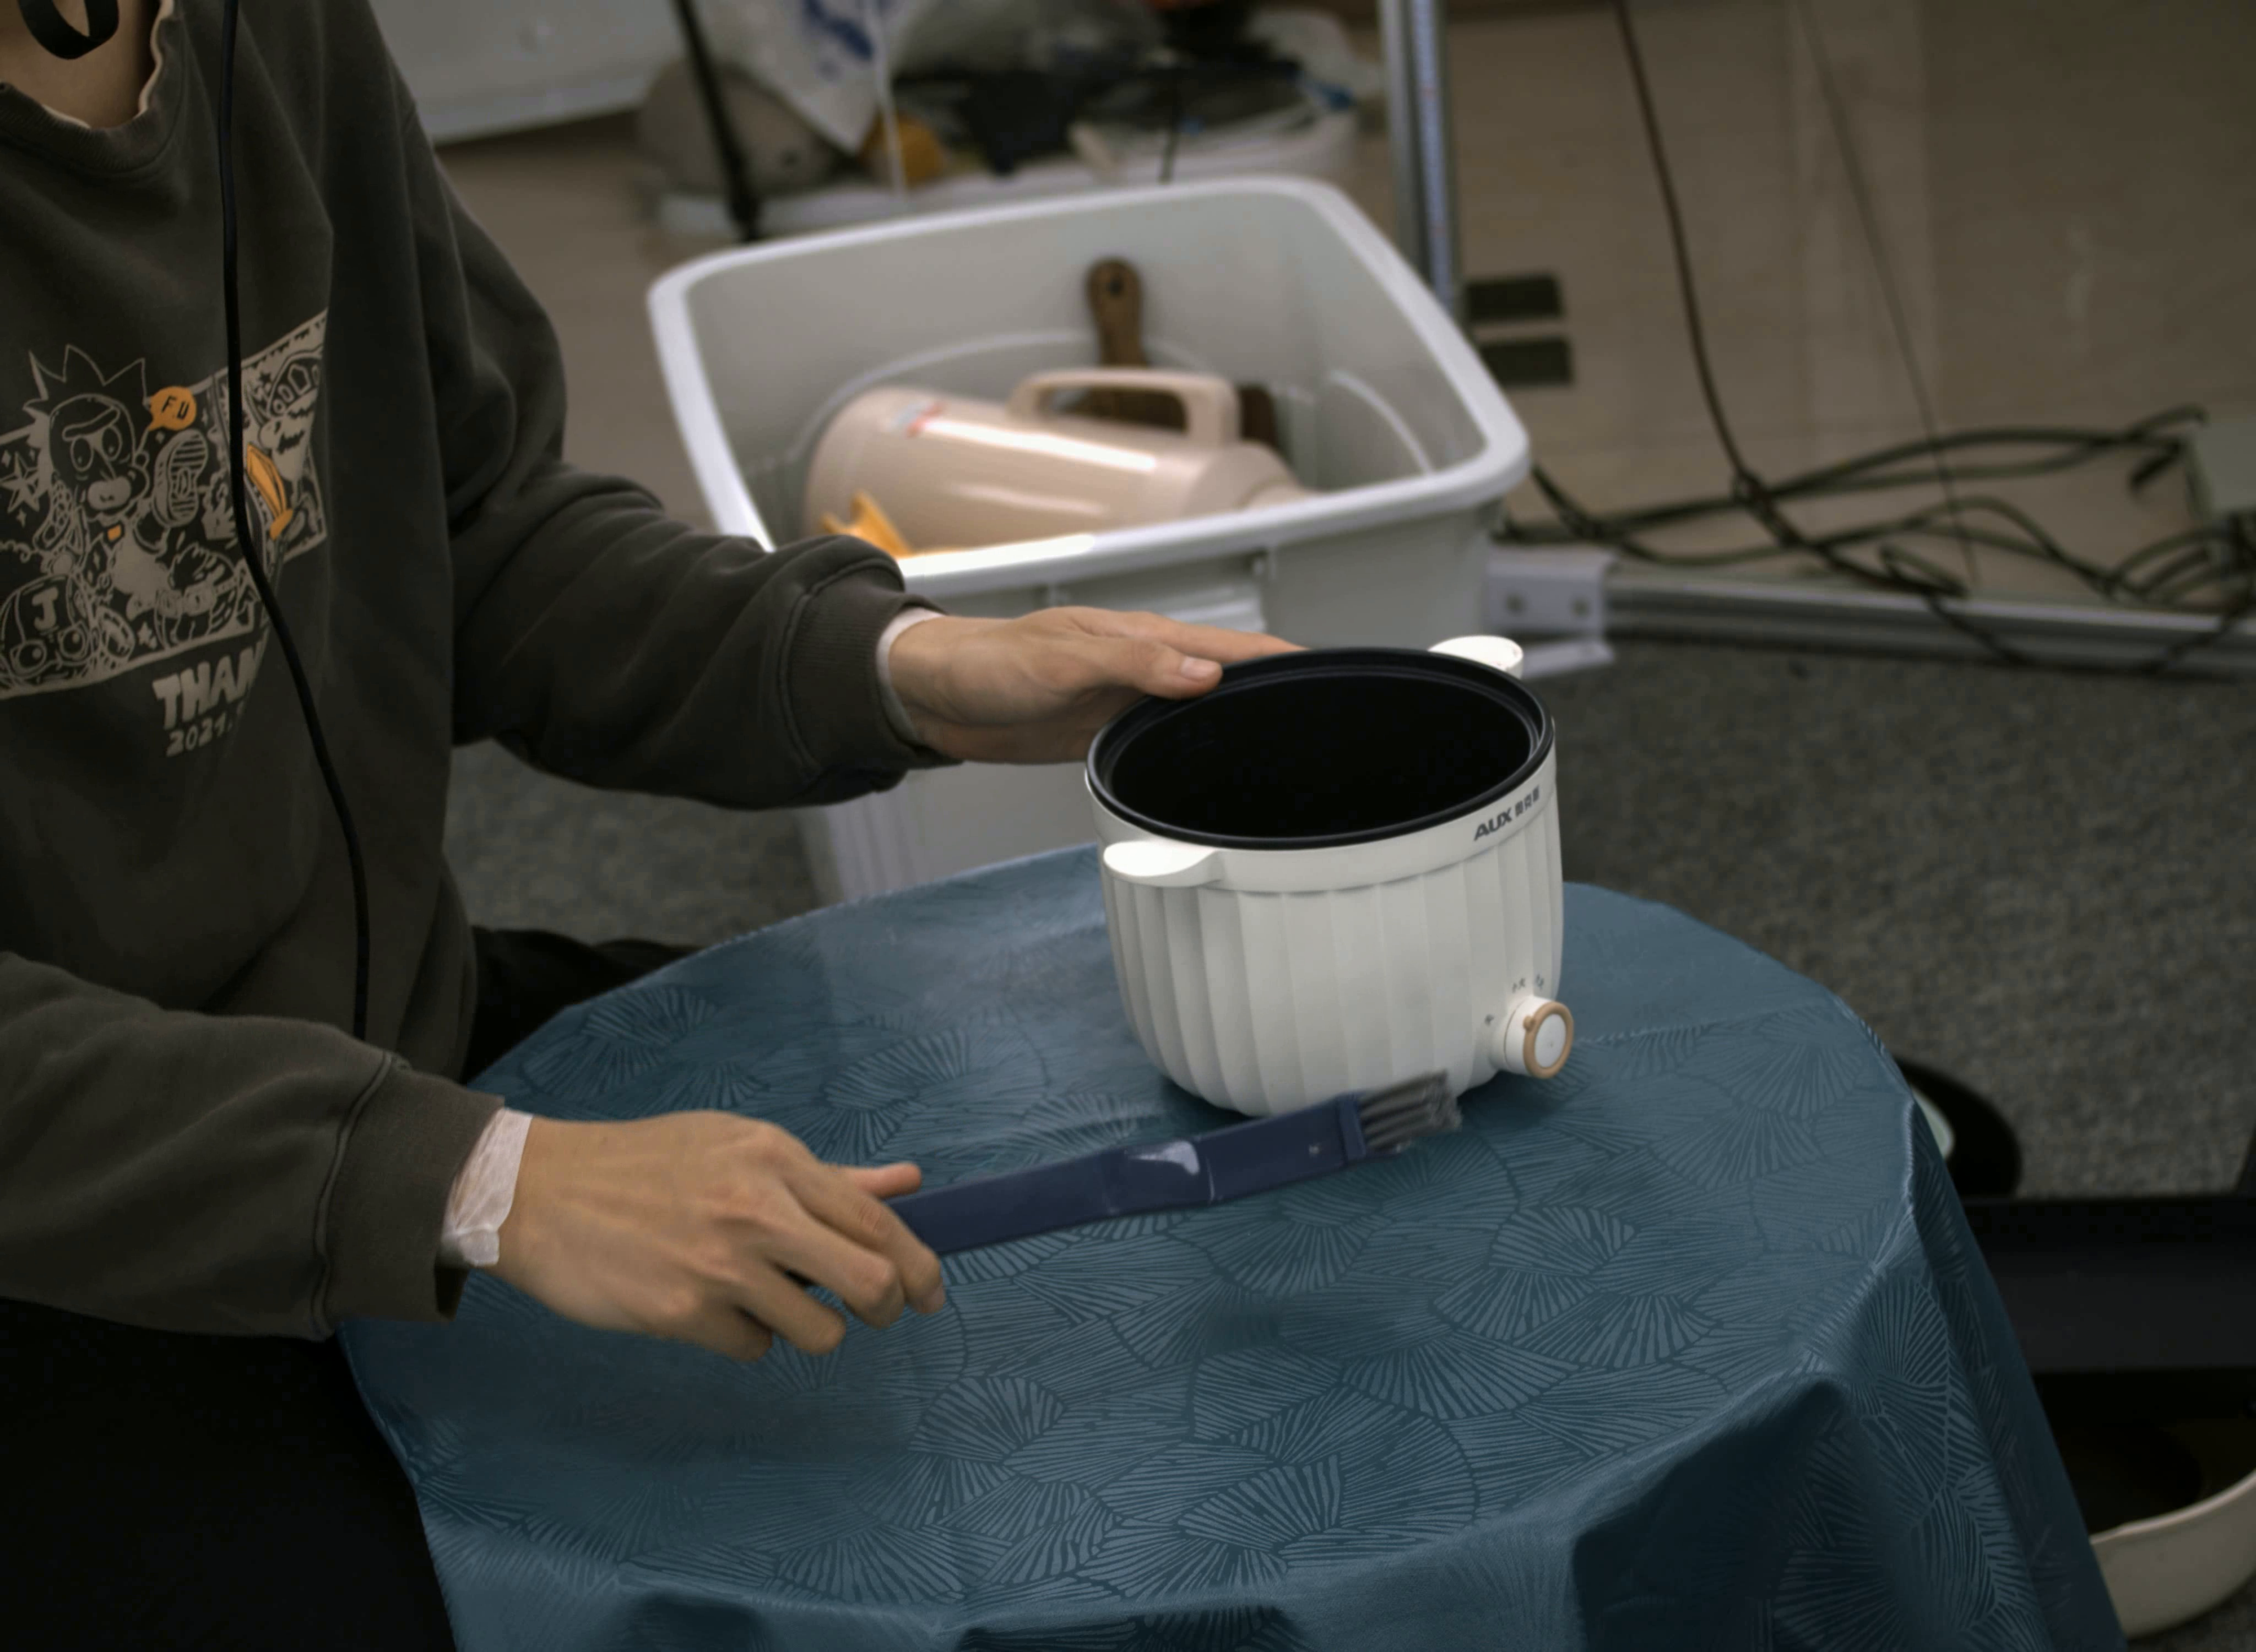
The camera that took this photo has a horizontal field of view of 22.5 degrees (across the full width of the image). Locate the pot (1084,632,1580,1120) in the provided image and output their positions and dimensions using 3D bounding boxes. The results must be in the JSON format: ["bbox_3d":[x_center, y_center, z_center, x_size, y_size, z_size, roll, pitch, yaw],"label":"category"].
[{"bbox_3d":[0.085,0.026,2.199,0.189,0.145,0.238,11,31,39],"label":"pot"}]

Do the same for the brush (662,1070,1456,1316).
[{"bbox_3d":[-0.026,0.125,1.994,0.272,0.033,0.096,-11,-12,-12],"label":"brush"}]
